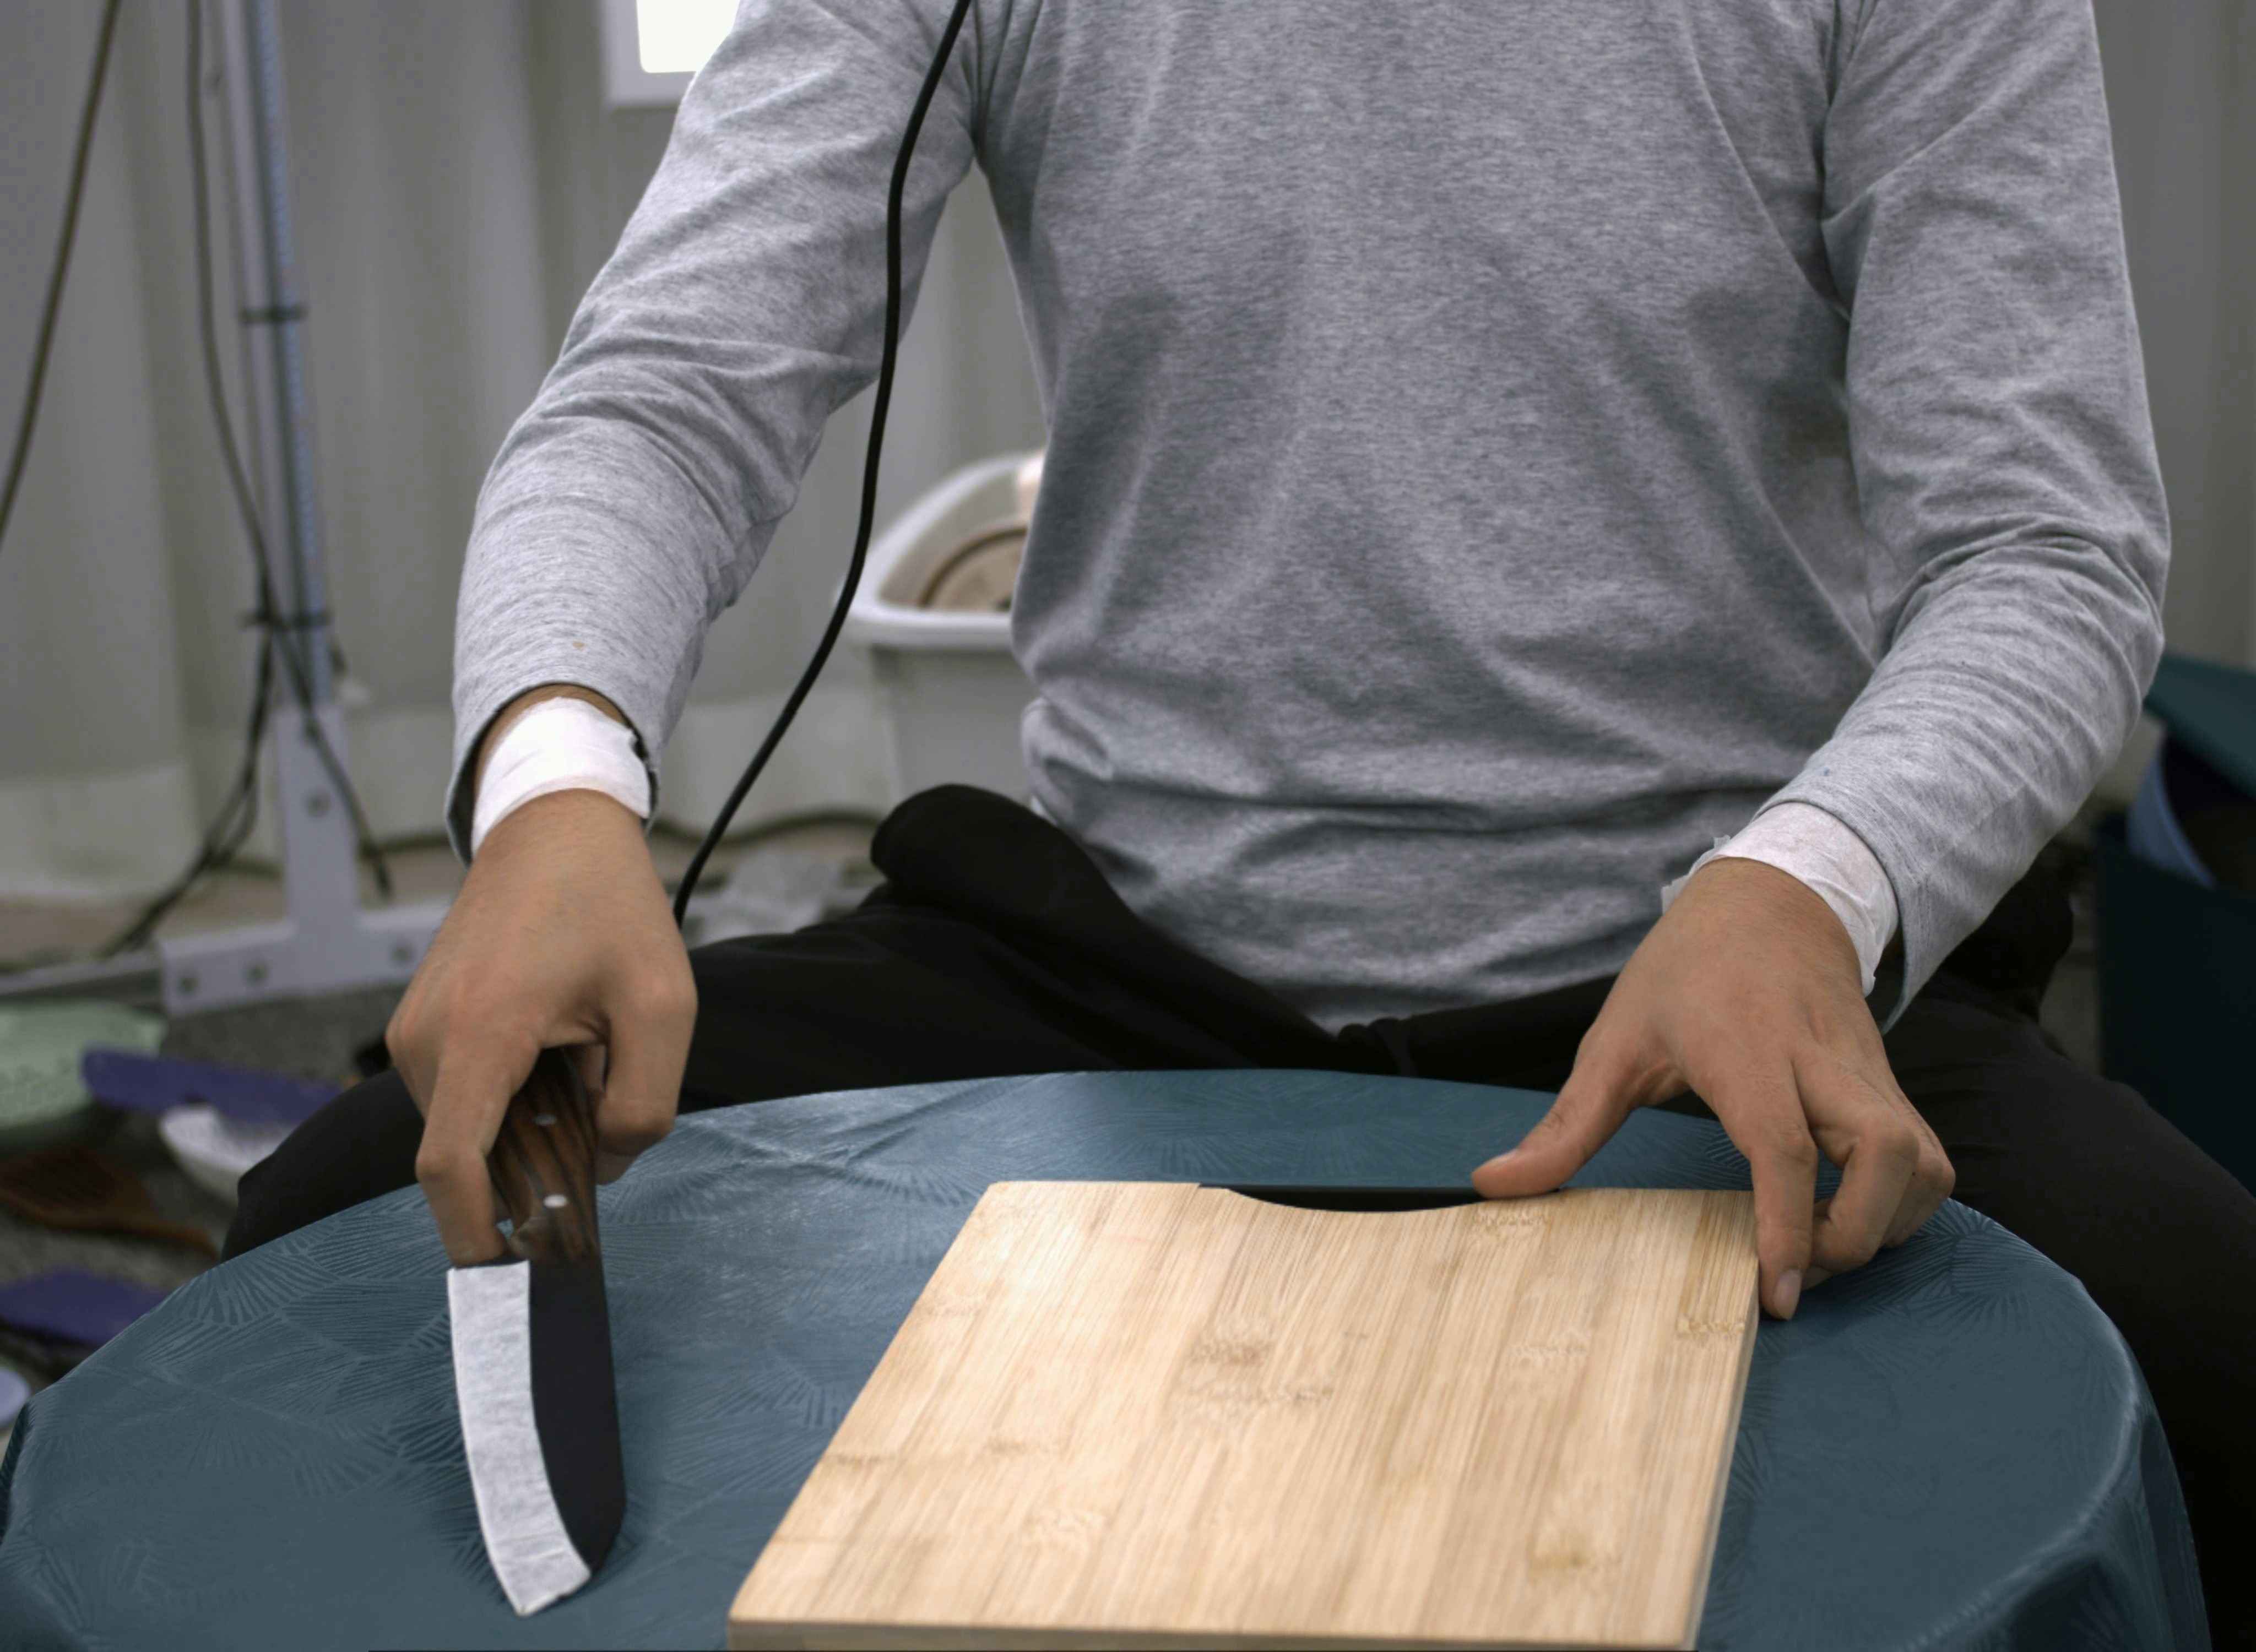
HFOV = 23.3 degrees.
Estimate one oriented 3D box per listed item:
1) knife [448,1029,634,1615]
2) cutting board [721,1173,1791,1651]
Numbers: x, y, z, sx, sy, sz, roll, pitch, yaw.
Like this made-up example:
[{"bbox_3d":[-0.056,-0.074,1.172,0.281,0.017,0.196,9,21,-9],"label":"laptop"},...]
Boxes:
[{"bbox_3d":[-0.166,0.136,1.537,0.050,0.020,0.293,-2,28,-5],"label":"knife"},{"bbox_3d":[0.048,0.161,1.503,0.250,0.023,0.350,0,15,10],"label":"cutting board"}]
